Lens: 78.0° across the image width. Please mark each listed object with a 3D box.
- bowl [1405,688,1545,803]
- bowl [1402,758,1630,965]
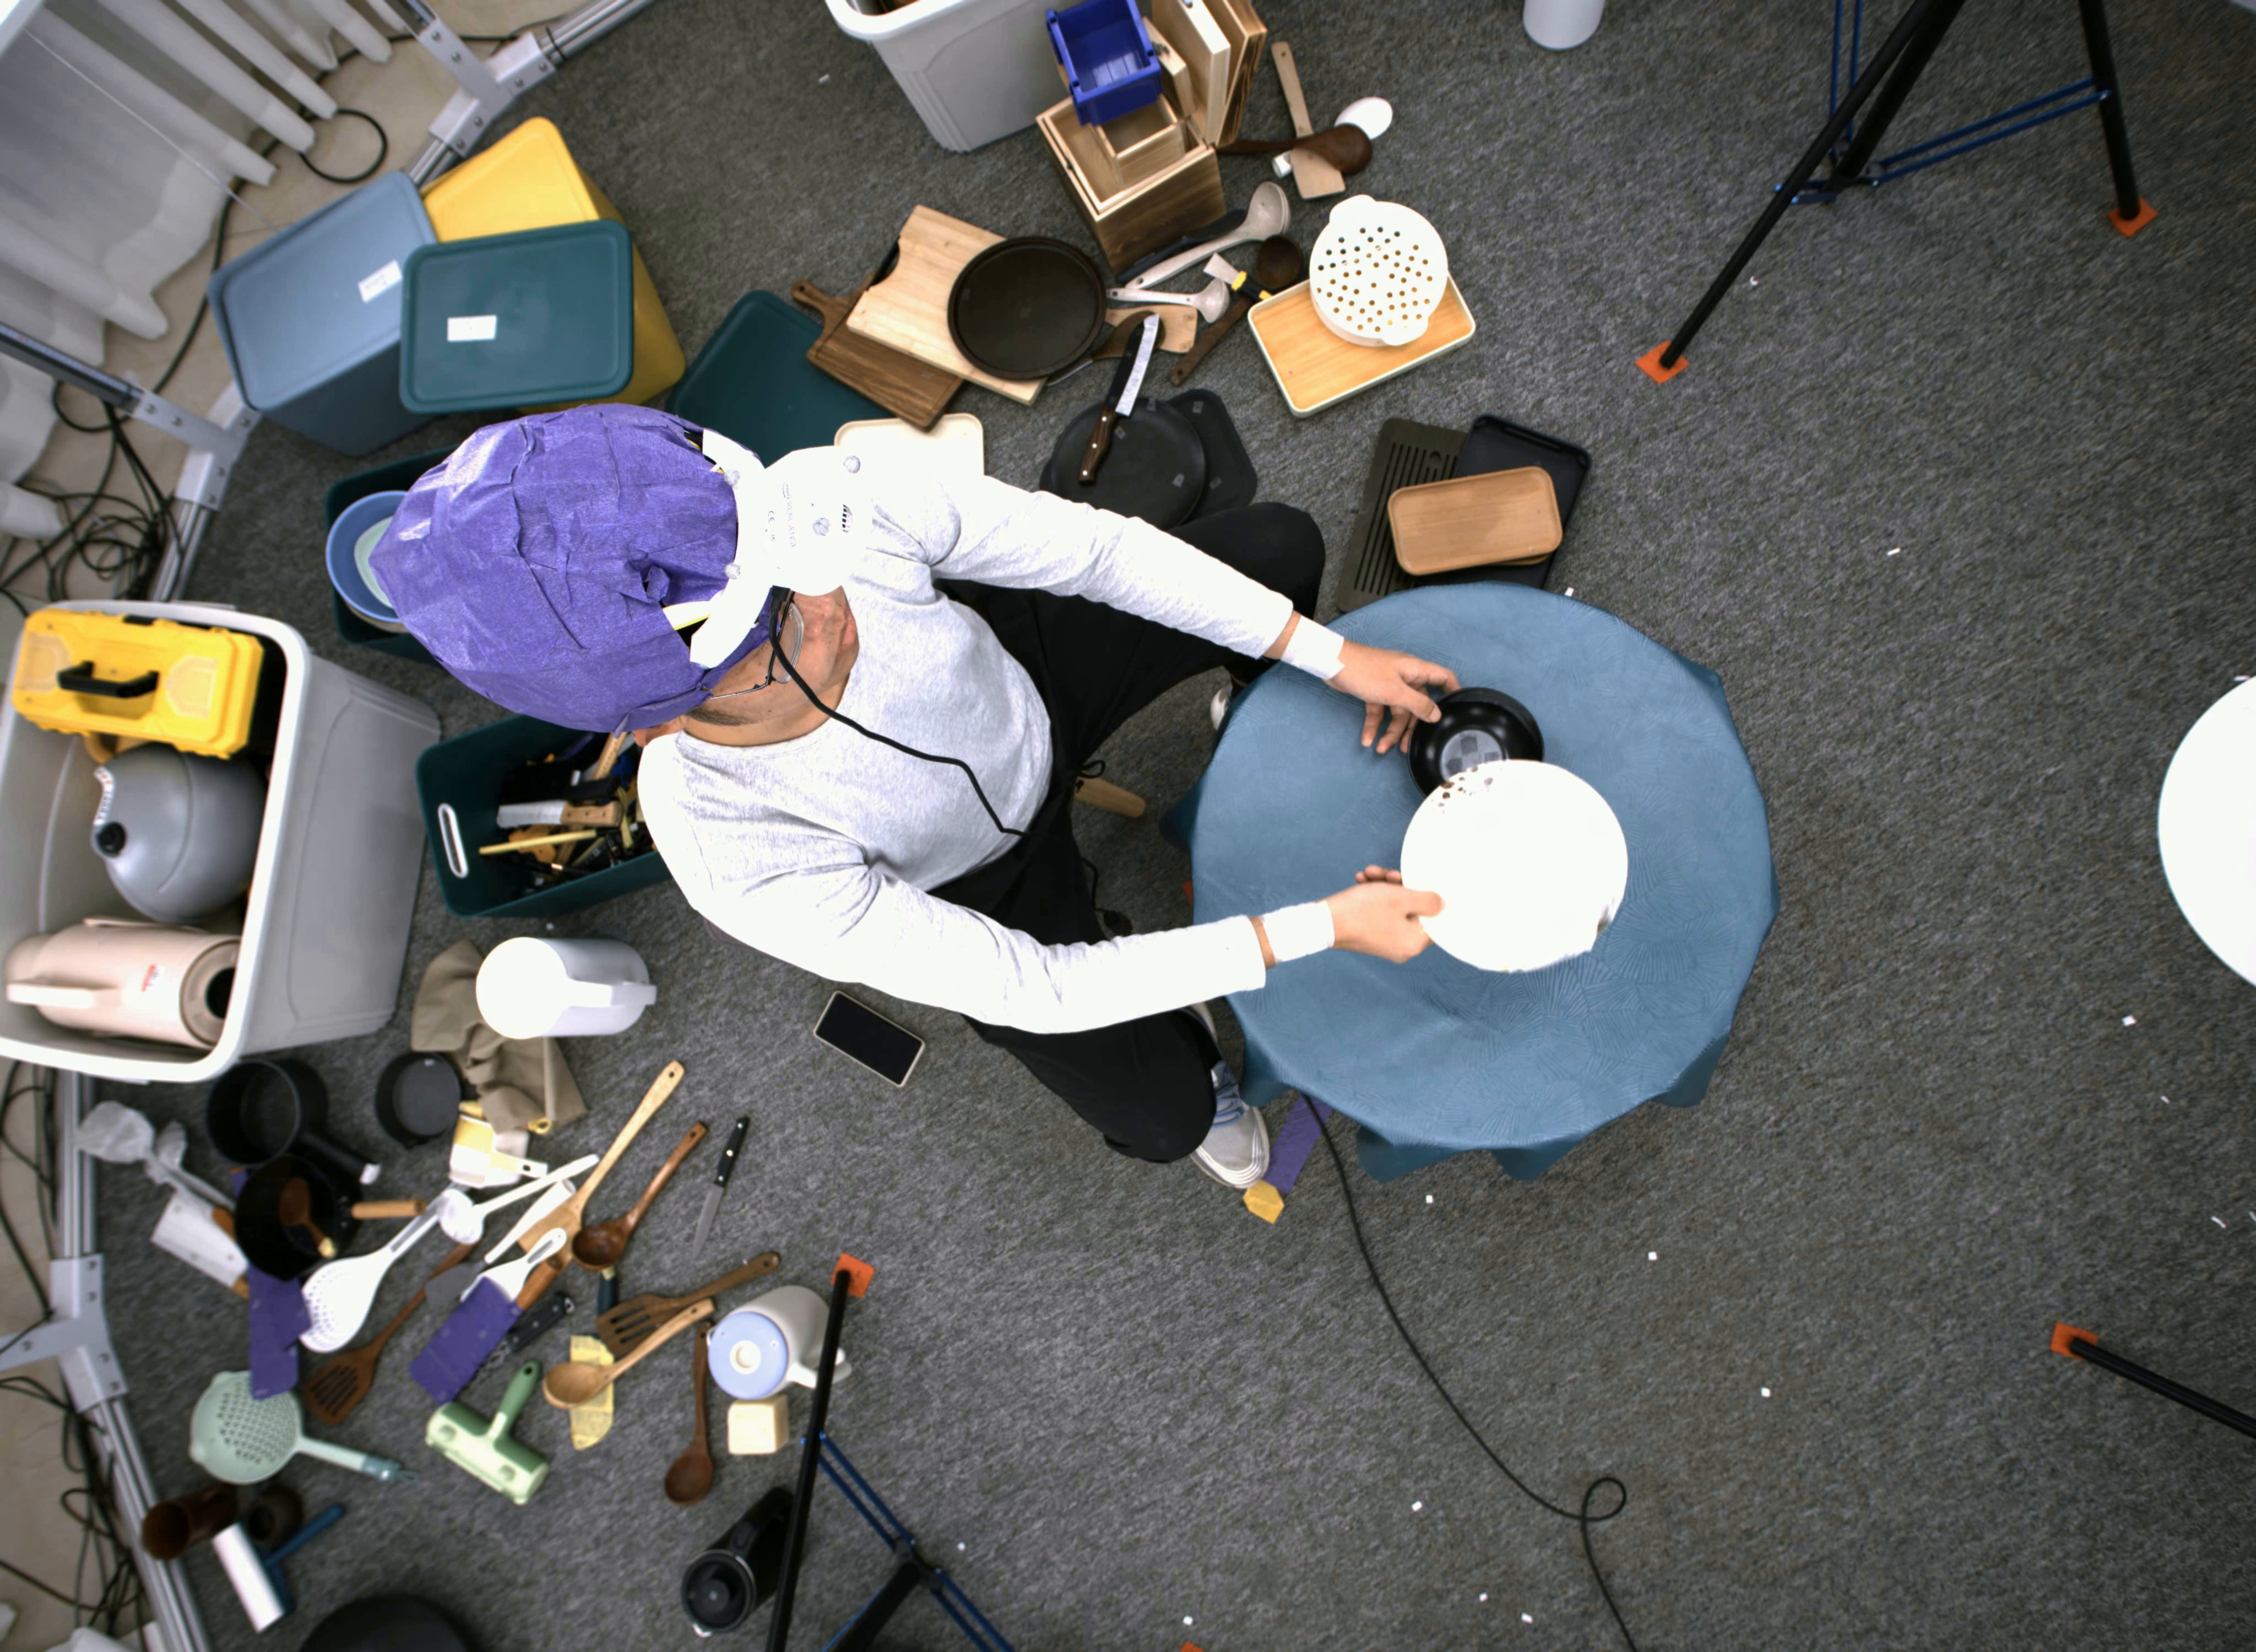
[{"bbox_3d":[0.360,-0.073,1.428,0.141,0.050,0.139,-2,84,14],"label":"bowl"},{"bbox_3d":[0.363,0.041,1.289,0.205,0.079,0.200,-6,69,16],"label":"bowl"}]
